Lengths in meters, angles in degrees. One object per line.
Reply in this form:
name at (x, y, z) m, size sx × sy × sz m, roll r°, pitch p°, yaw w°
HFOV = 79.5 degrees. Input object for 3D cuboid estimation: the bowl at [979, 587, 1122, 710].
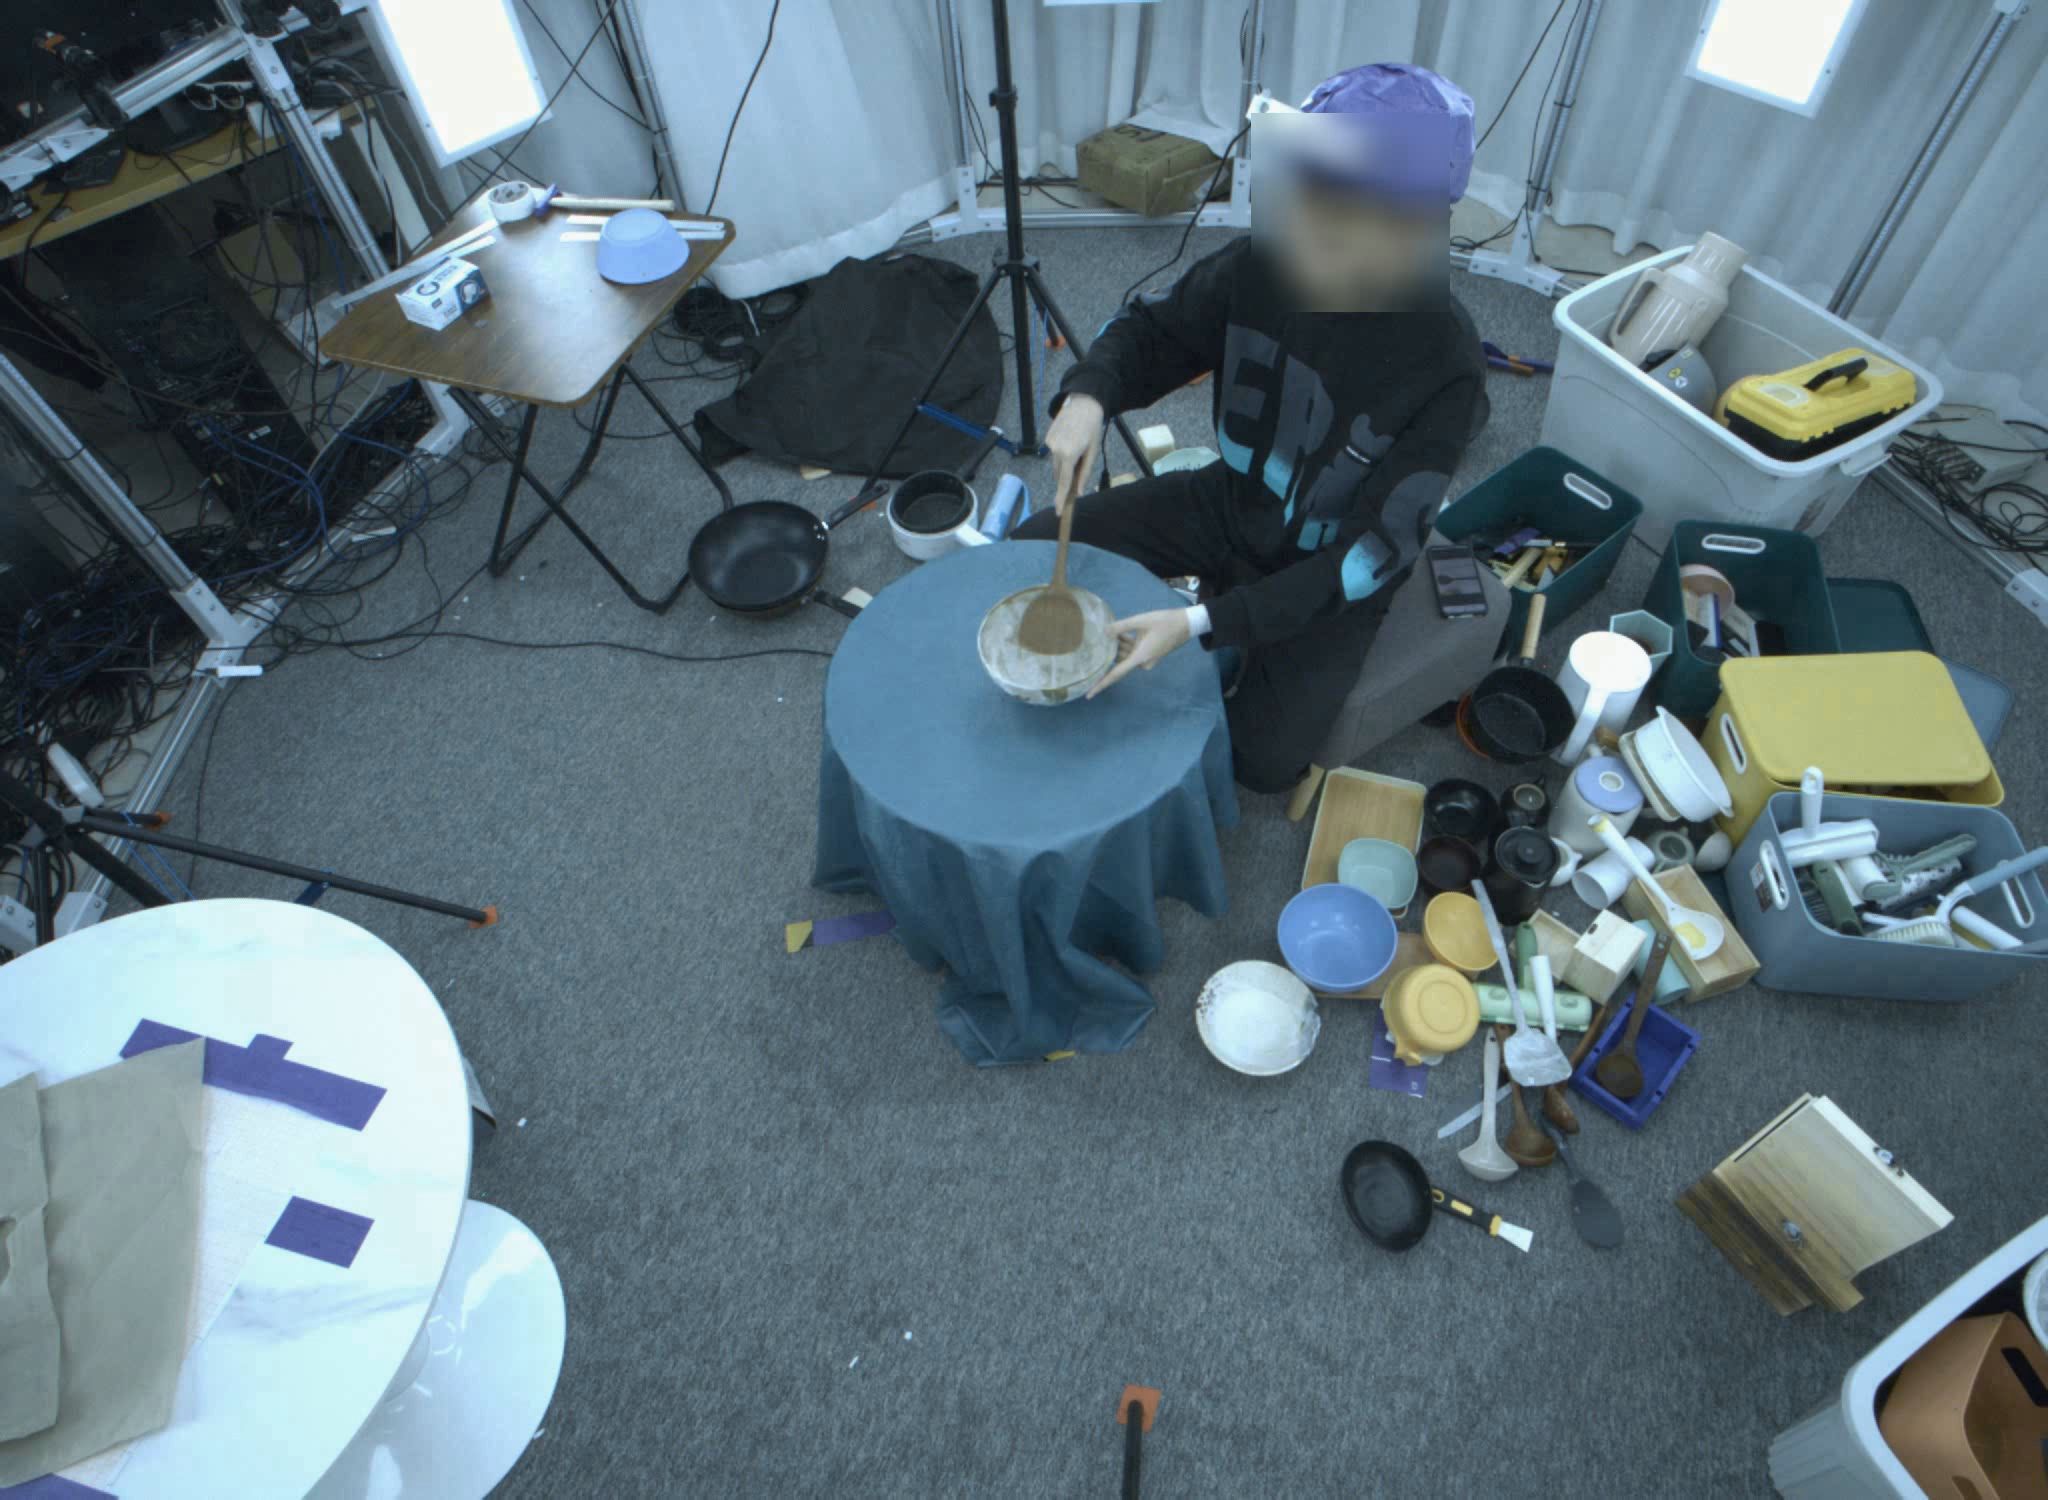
bowl at (0.044, -0.133, 1.801) m, size 0.214 × 0.096 × 0.212 m, roll -2°, pitch 54°, yaw 3°

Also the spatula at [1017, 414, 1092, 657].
spatula at (0.061, -0.321, 1.791) m, size 0.095 × 0.016 × 0.385 m, roll 6°, pitch 81°, yaw 12°
